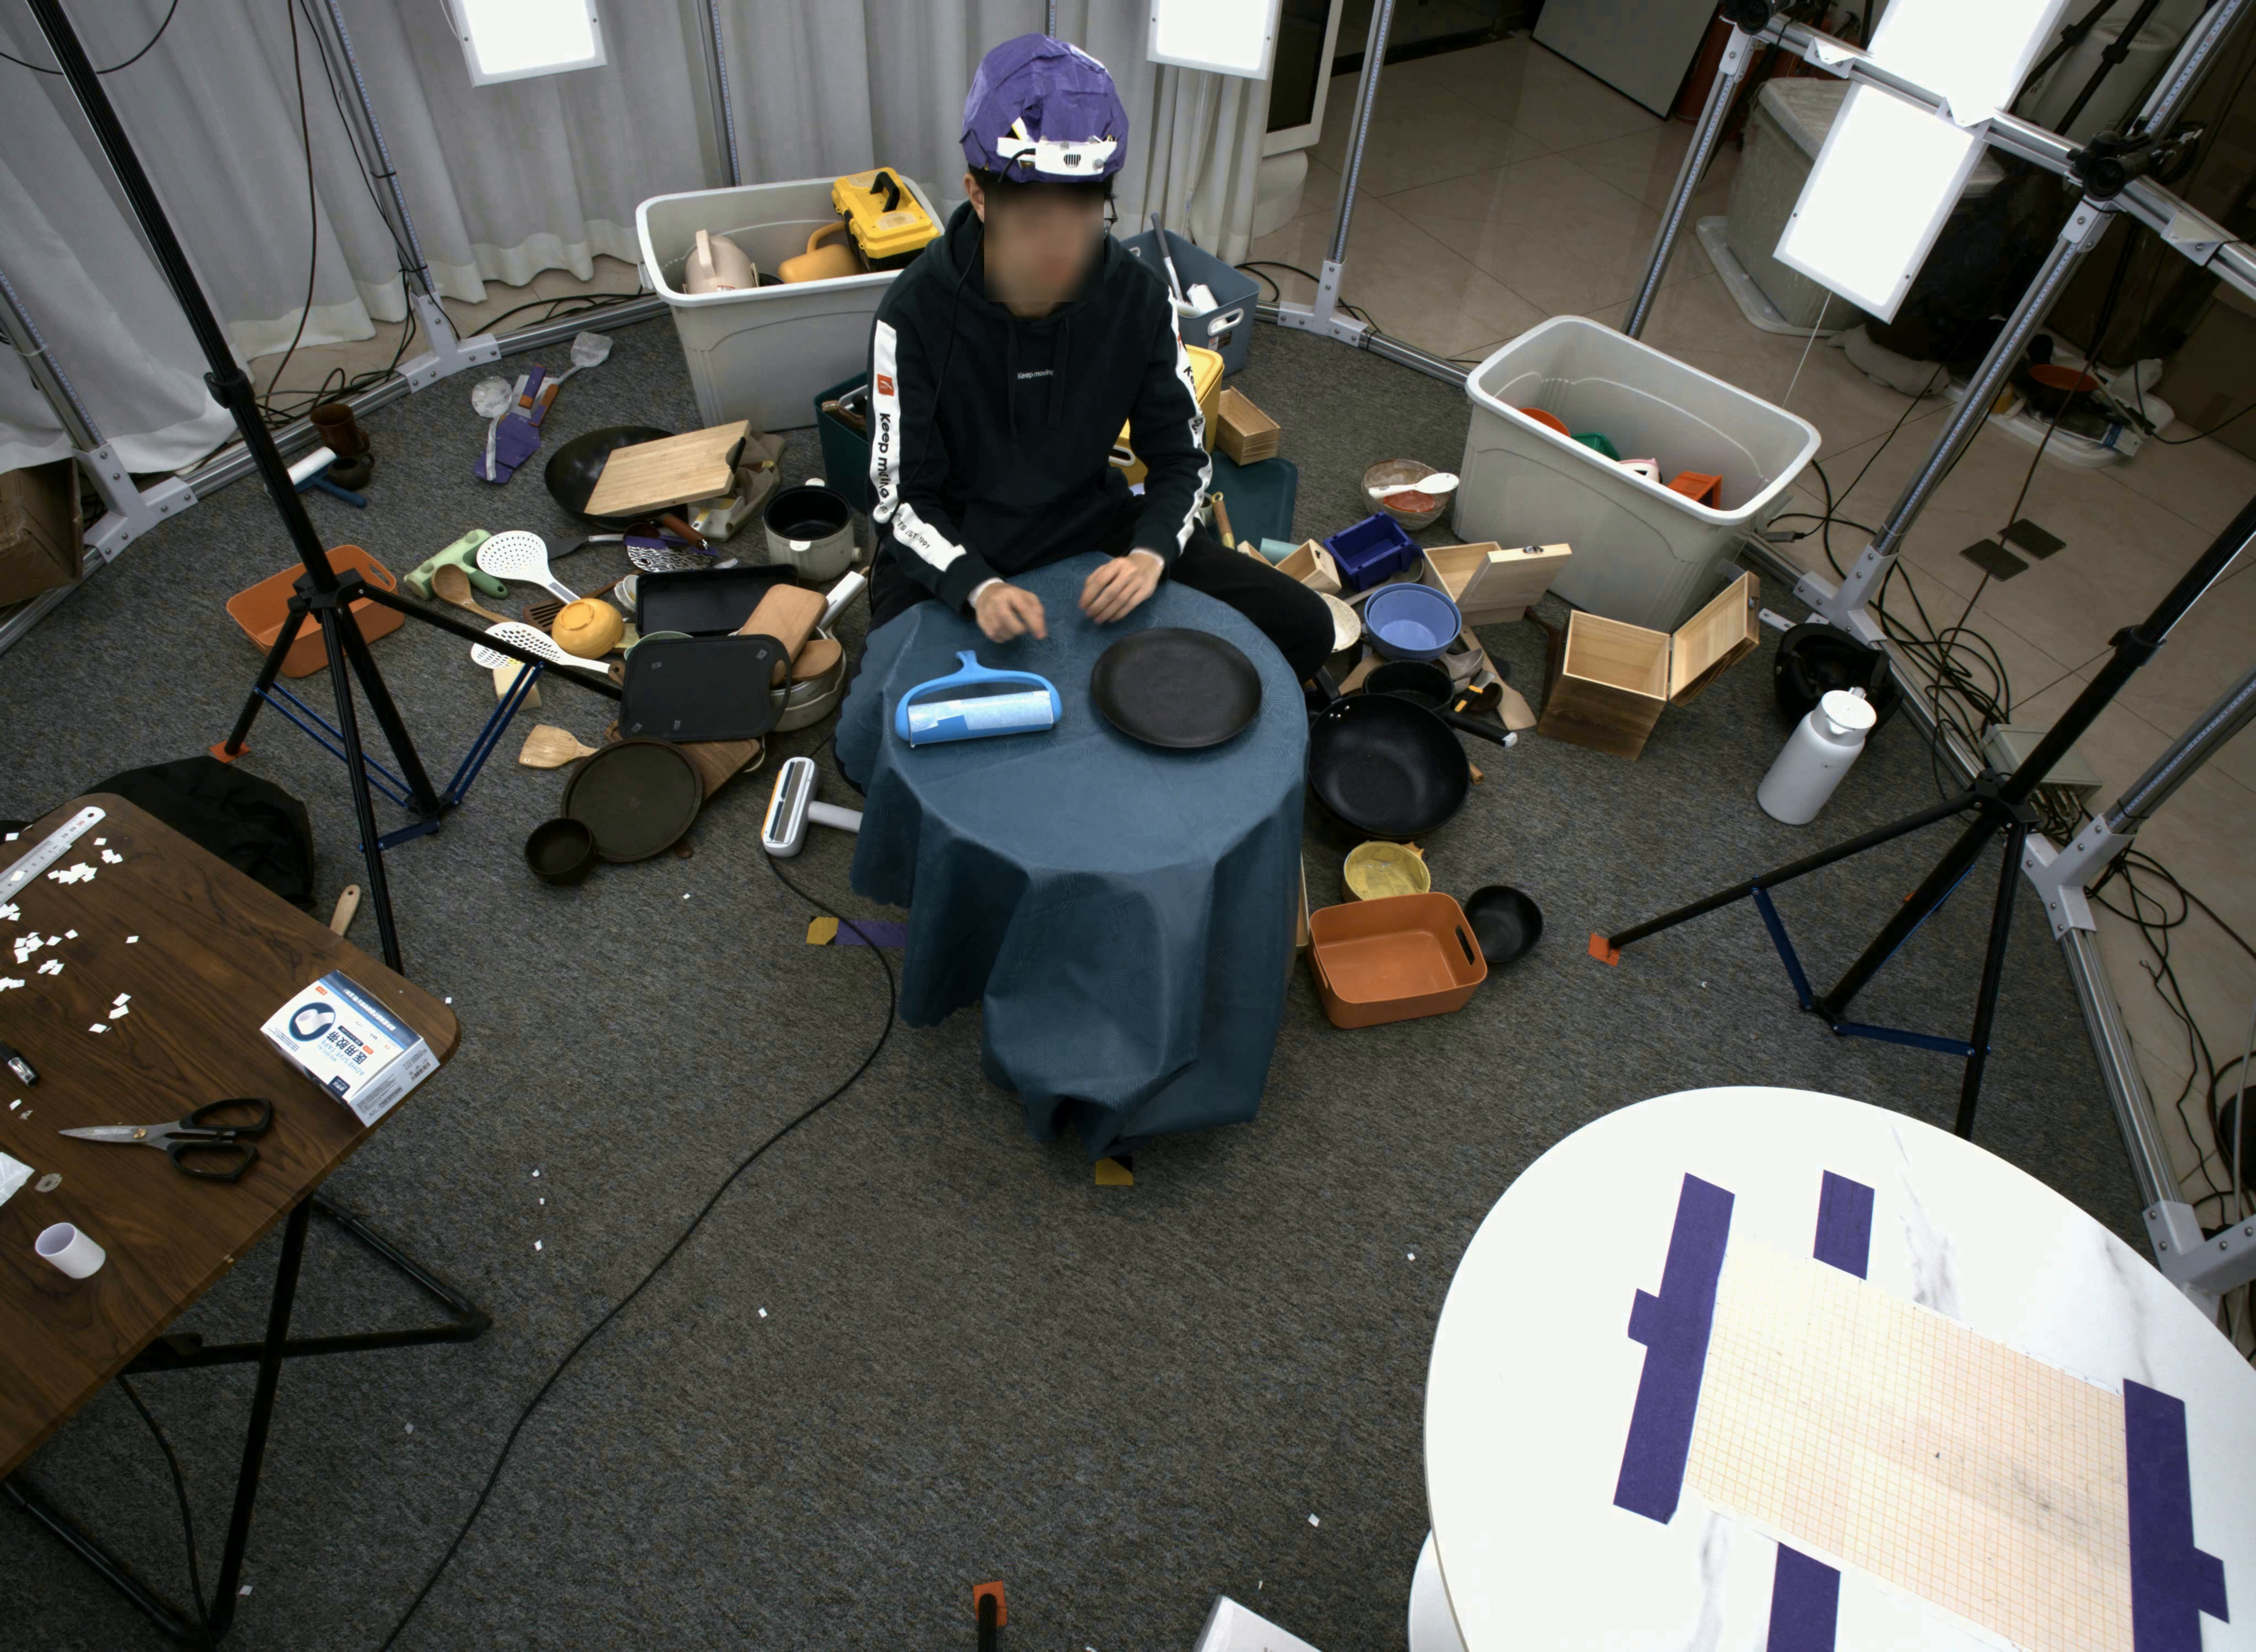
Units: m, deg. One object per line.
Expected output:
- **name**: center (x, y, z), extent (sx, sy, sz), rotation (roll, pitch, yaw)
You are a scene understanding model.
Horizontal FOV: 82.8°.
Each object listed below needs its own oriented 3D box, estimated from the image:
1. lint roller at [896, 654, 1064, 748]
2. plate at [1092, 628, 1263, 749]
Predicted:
- **lint roller**: center (-0.215, -0.192, 1.784), extent (0.229, 0.066, 0.185), rotation (-11, 51, -11)
- **plate**: center (0.070, -0.193, 1.825), extent (0.244, 0.023, 0.250), rotation (2, 49, -2)
